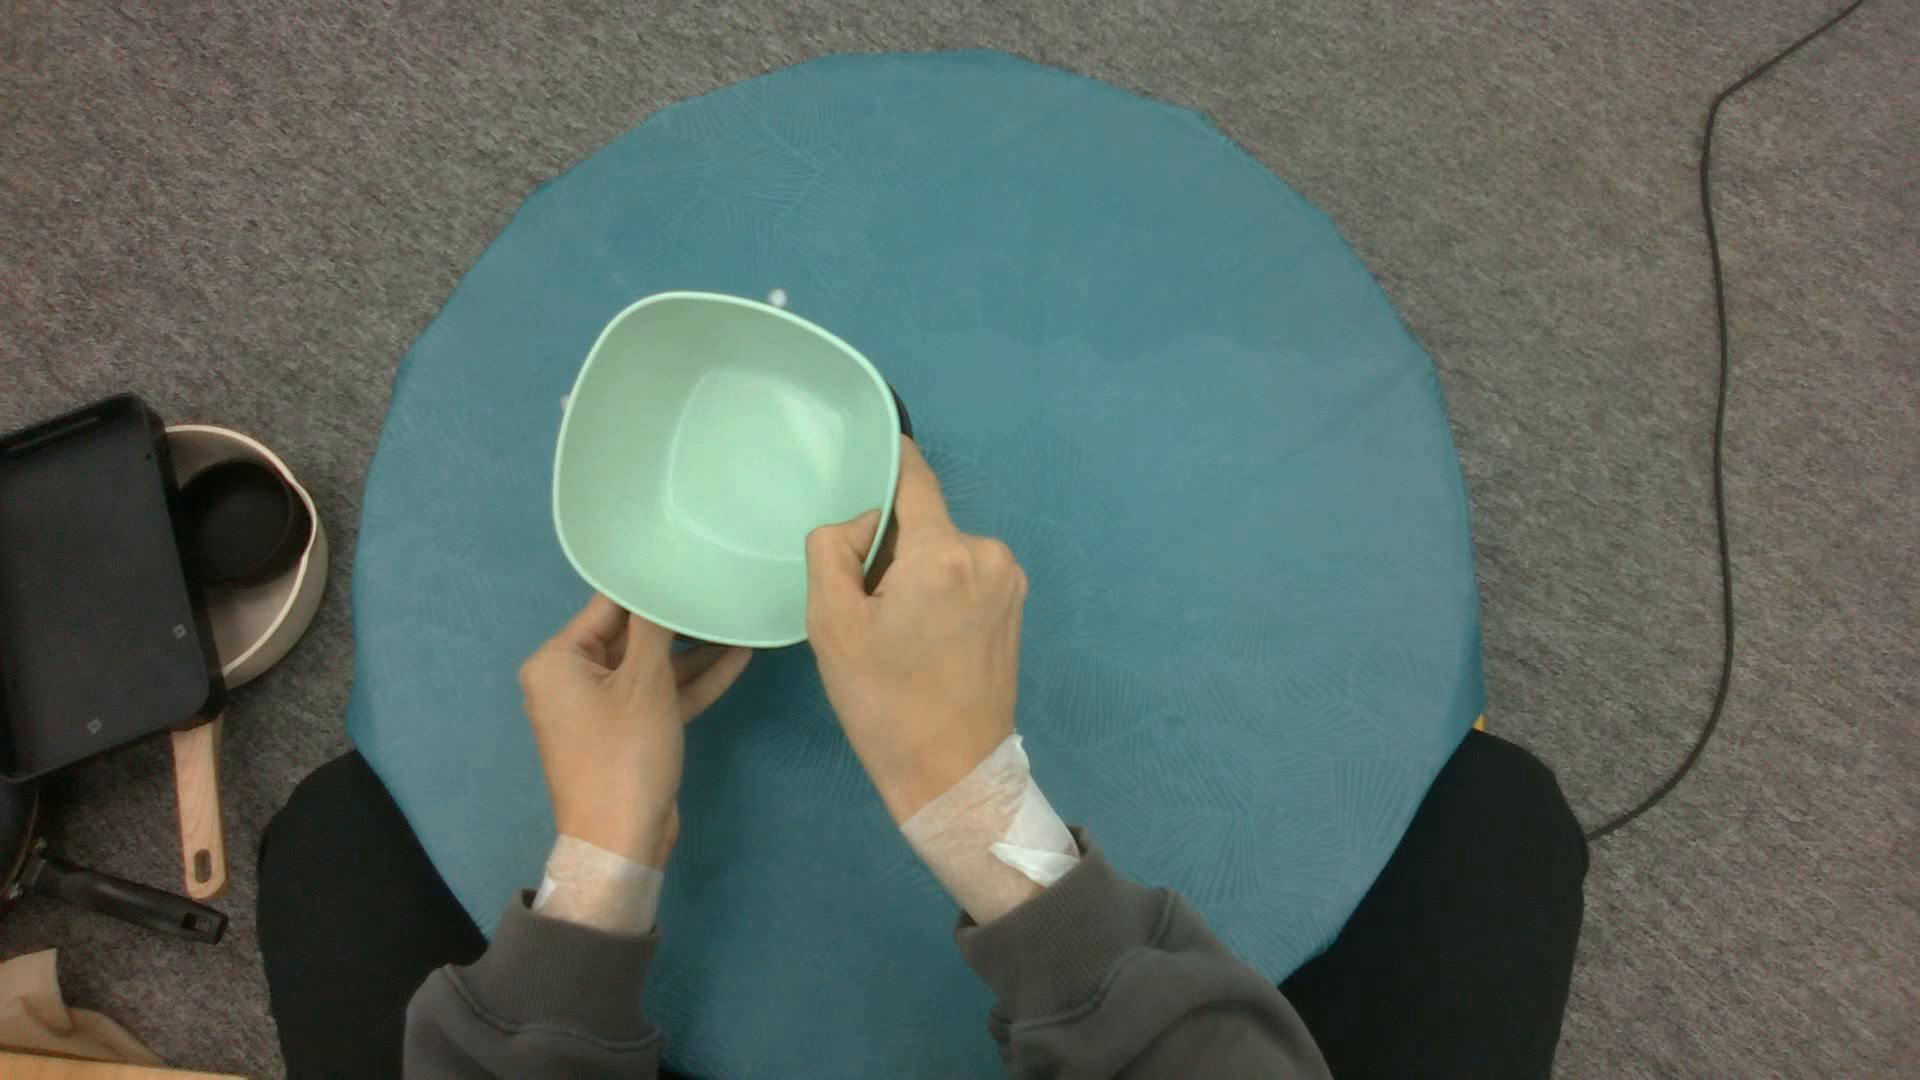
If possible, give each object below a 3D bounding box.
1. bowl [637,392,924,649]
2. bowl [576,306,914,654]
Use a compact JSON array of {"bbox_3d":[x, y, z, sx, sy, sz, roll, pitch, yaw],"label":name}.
[{"bbox_3d":[-0.095,-0.016,0.709,0.137,0.066,0.171,39,75,9],"label":"bowl"},{"bbox_3d":[-0.086,-0.027,0.594,0.151,0.059,0.151,1,95,8],"label":"bowl"}]
